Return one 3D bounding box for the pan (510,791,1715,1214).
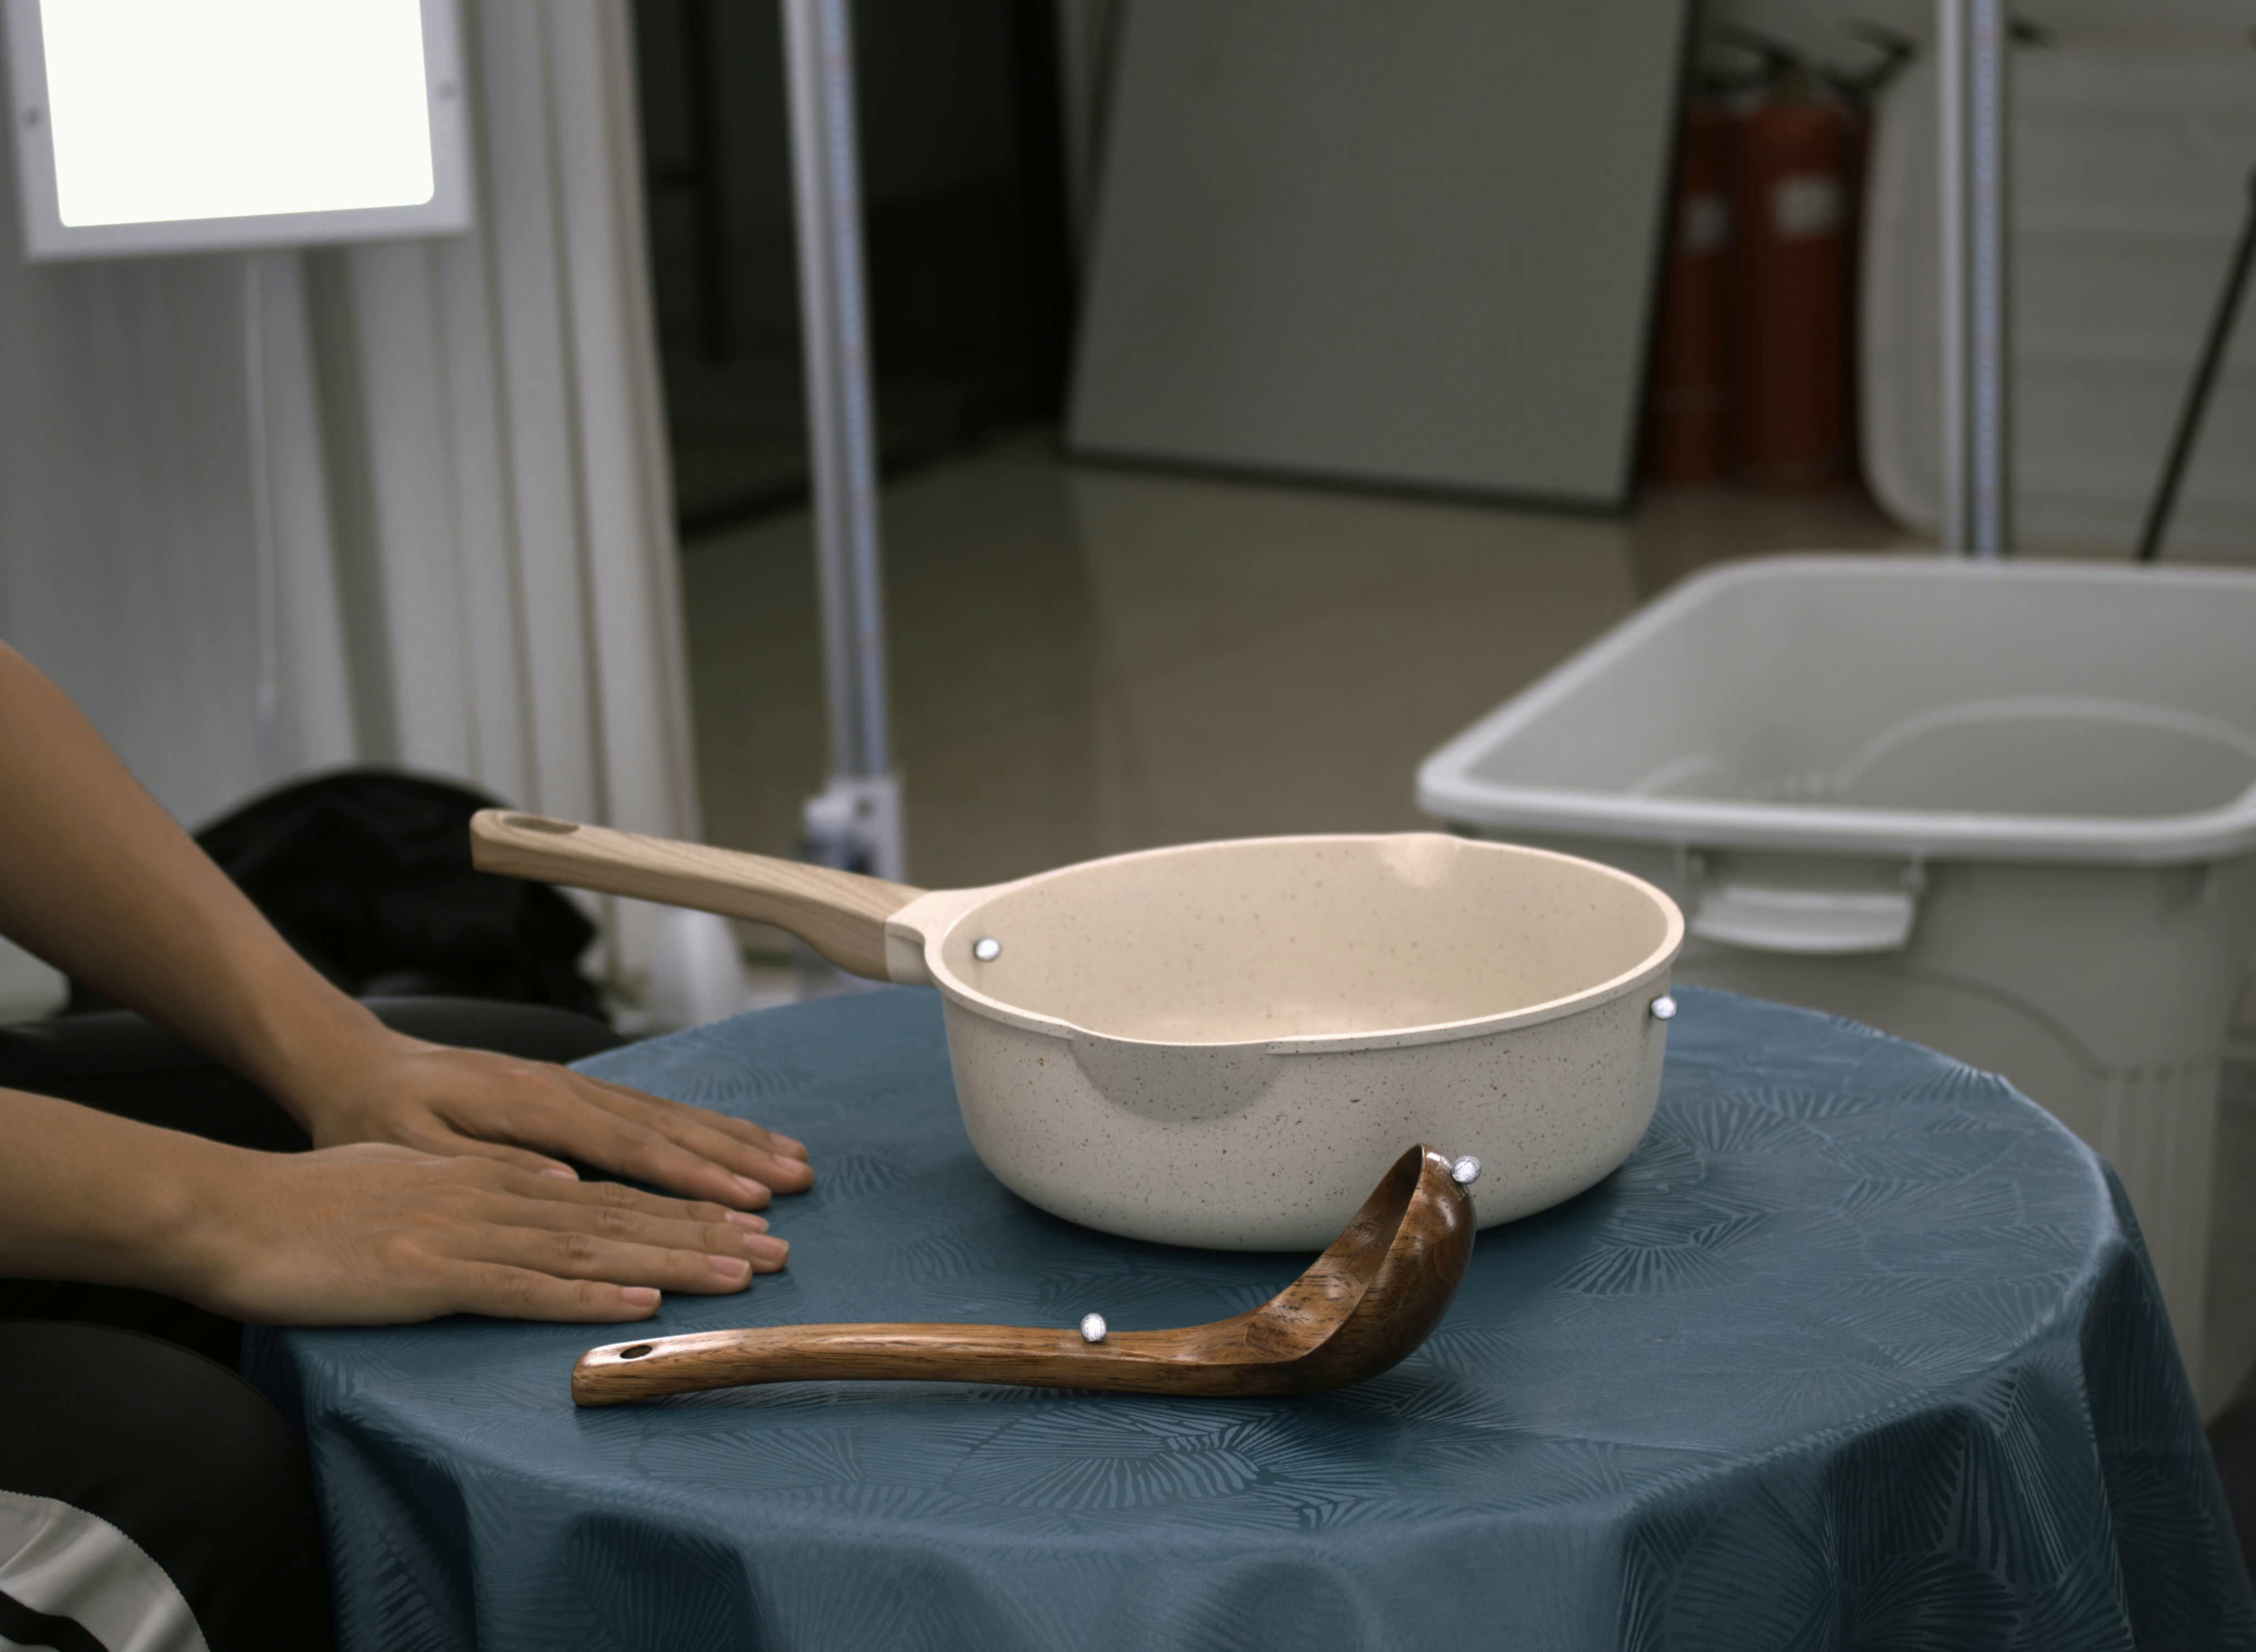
[{"bbox_3d":[-0.012,0.050,1.832,0.435,0.103,0.260,2,16,23],"label":"pan"}]

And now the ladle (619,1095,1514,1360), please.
[{"bbox_3d":[-0.021,0.120,1.591,0.272,0.077,0.081,-1,14,10],"label":"ladle"}]
